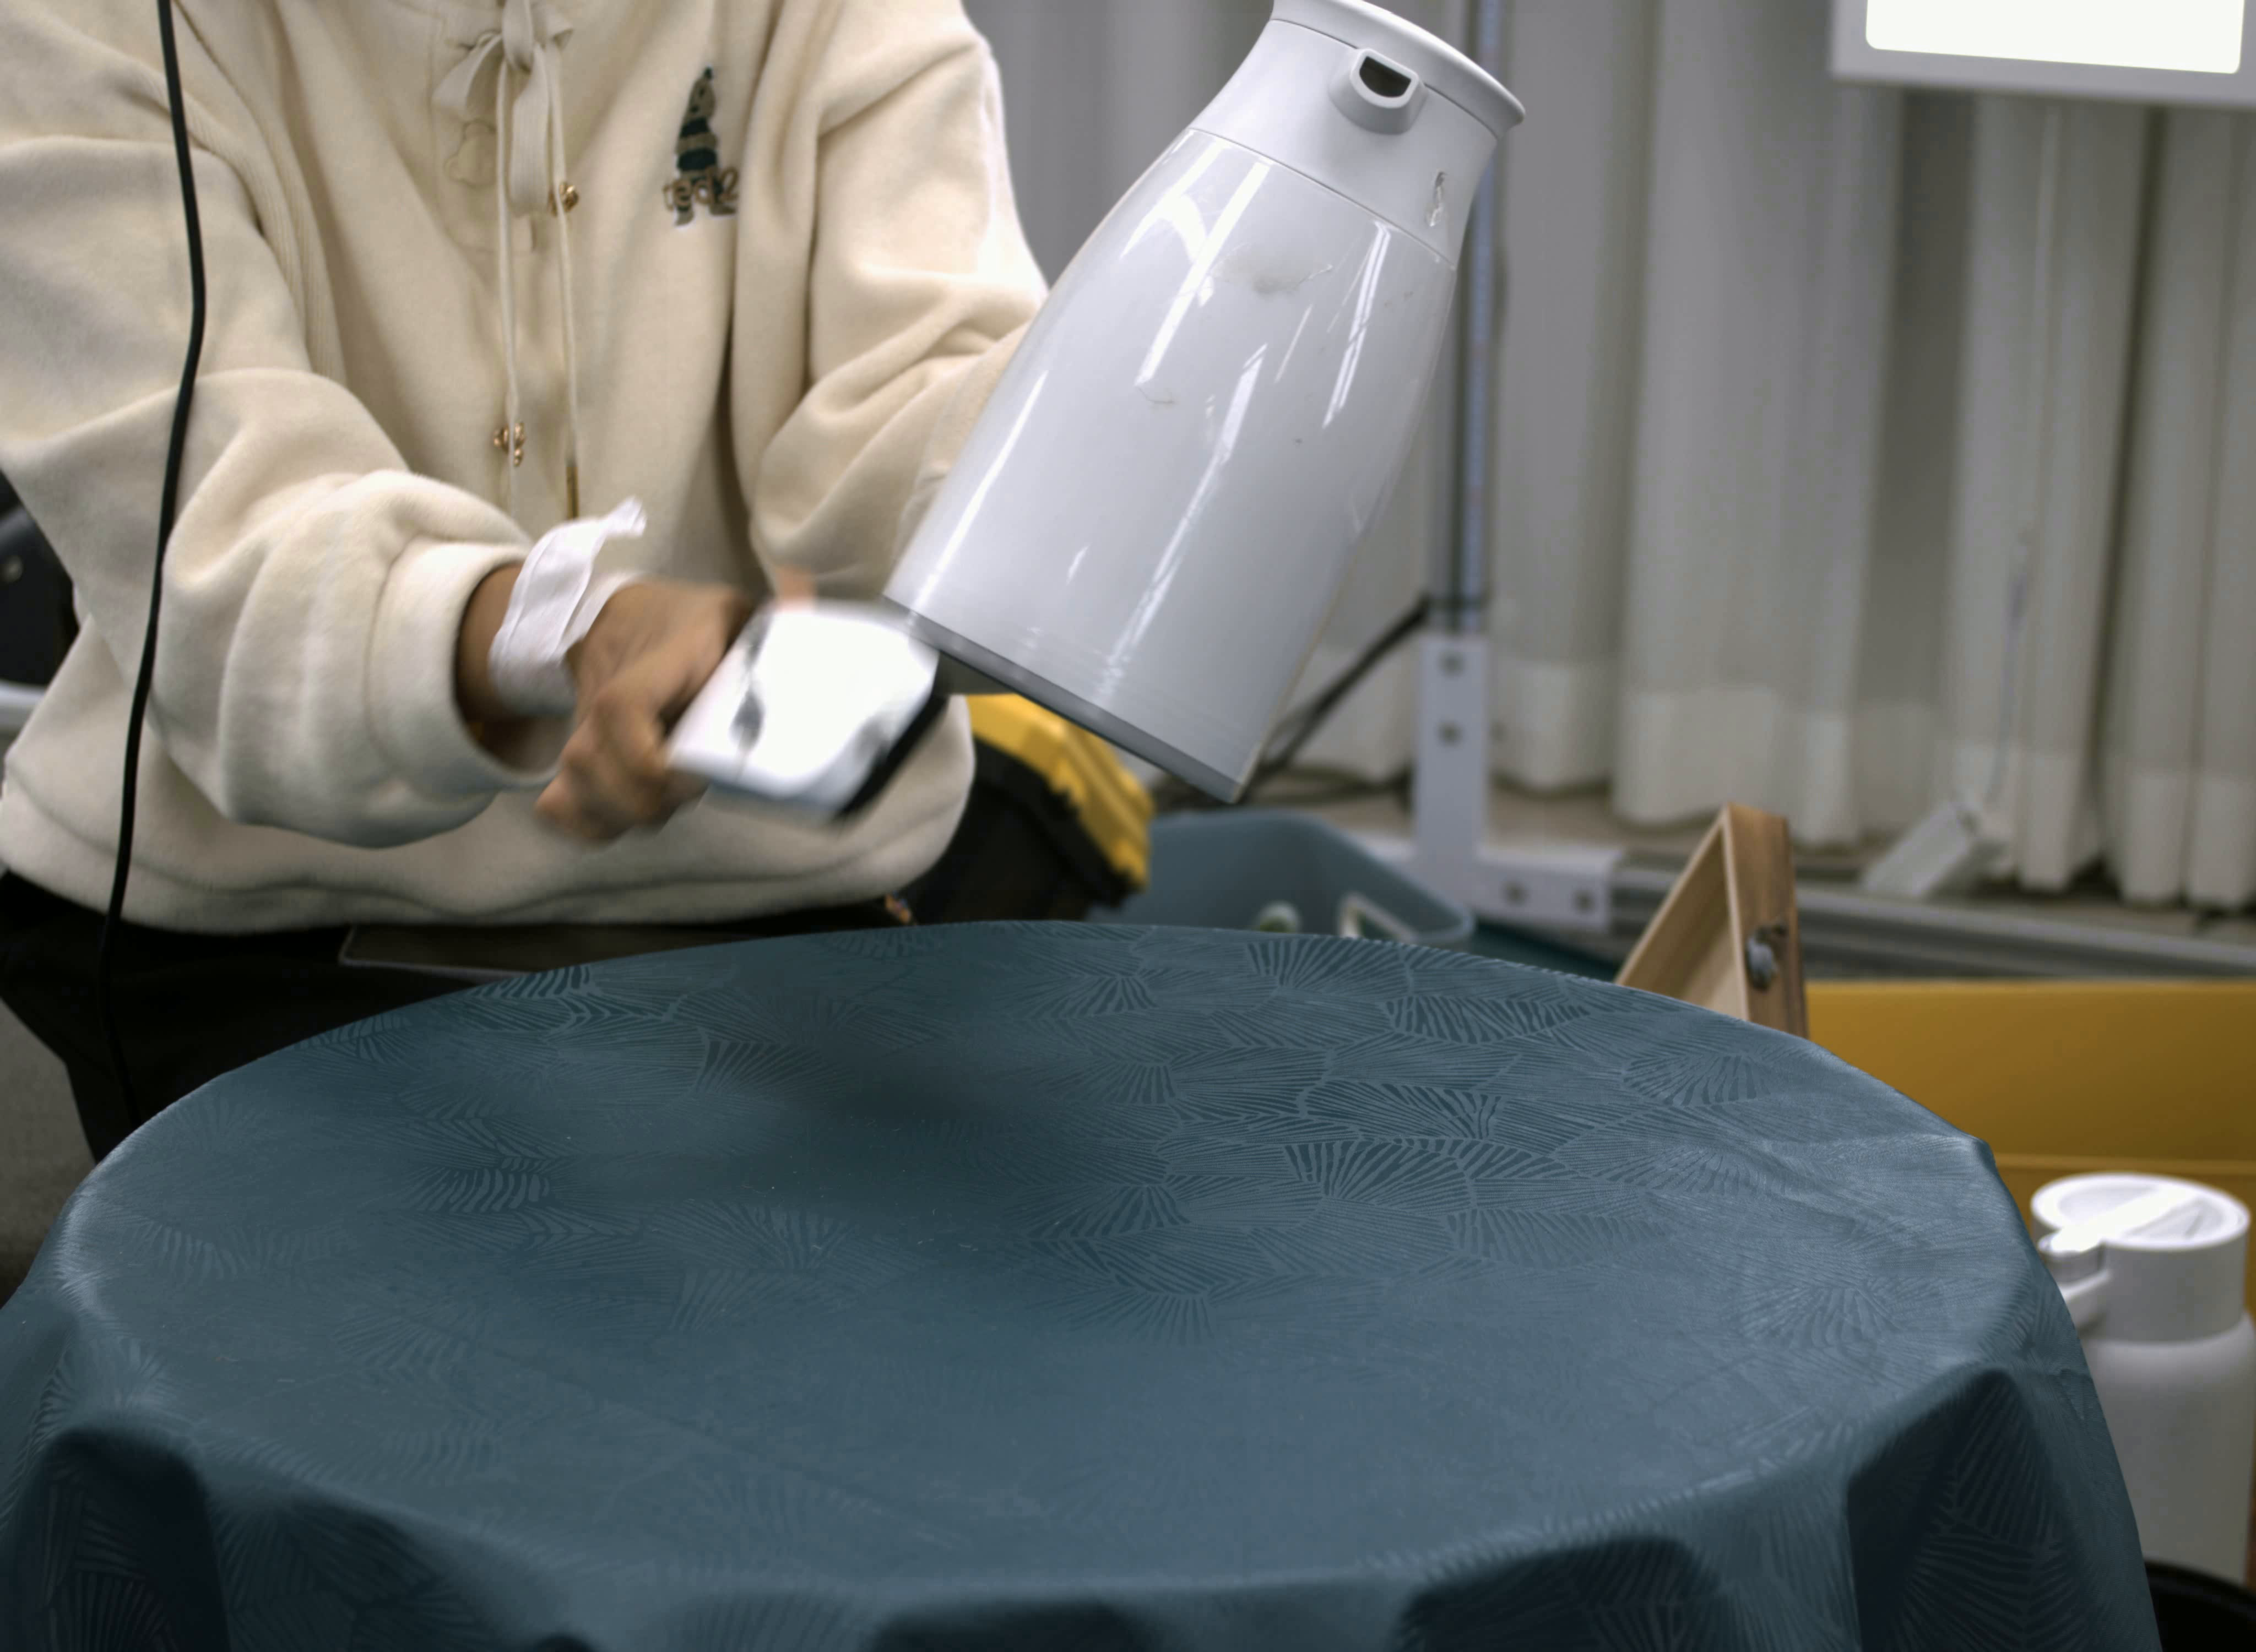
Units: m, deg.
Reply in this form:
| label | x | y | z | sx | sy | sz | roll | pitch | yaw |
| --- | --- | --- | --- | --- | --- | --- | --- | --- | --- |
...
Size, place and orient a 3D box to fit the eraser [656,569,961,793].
| label | x | y | z | sx | sy | sz | roll | pitch | yaw |
| --- | --- | --- | --- | --- | --- | --- | --- | --- | --- |
| eraser | -0.099 | -0.043 | 1.605 | 0.063 | 0.035 | 0.130 | -51 | 22 | -14 |

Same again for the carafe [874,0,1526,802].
| label | x | y | z | sx | sy | sz | roll | pitch | yaw |
| --- | --- | --- | --- | --- | --- | --- | --- | --- | --- |
| carafe | 0.031 | -0.148 | 1.706 | 0.132 | 0.249 | 0.167 | 28 | -1 | -3 |
